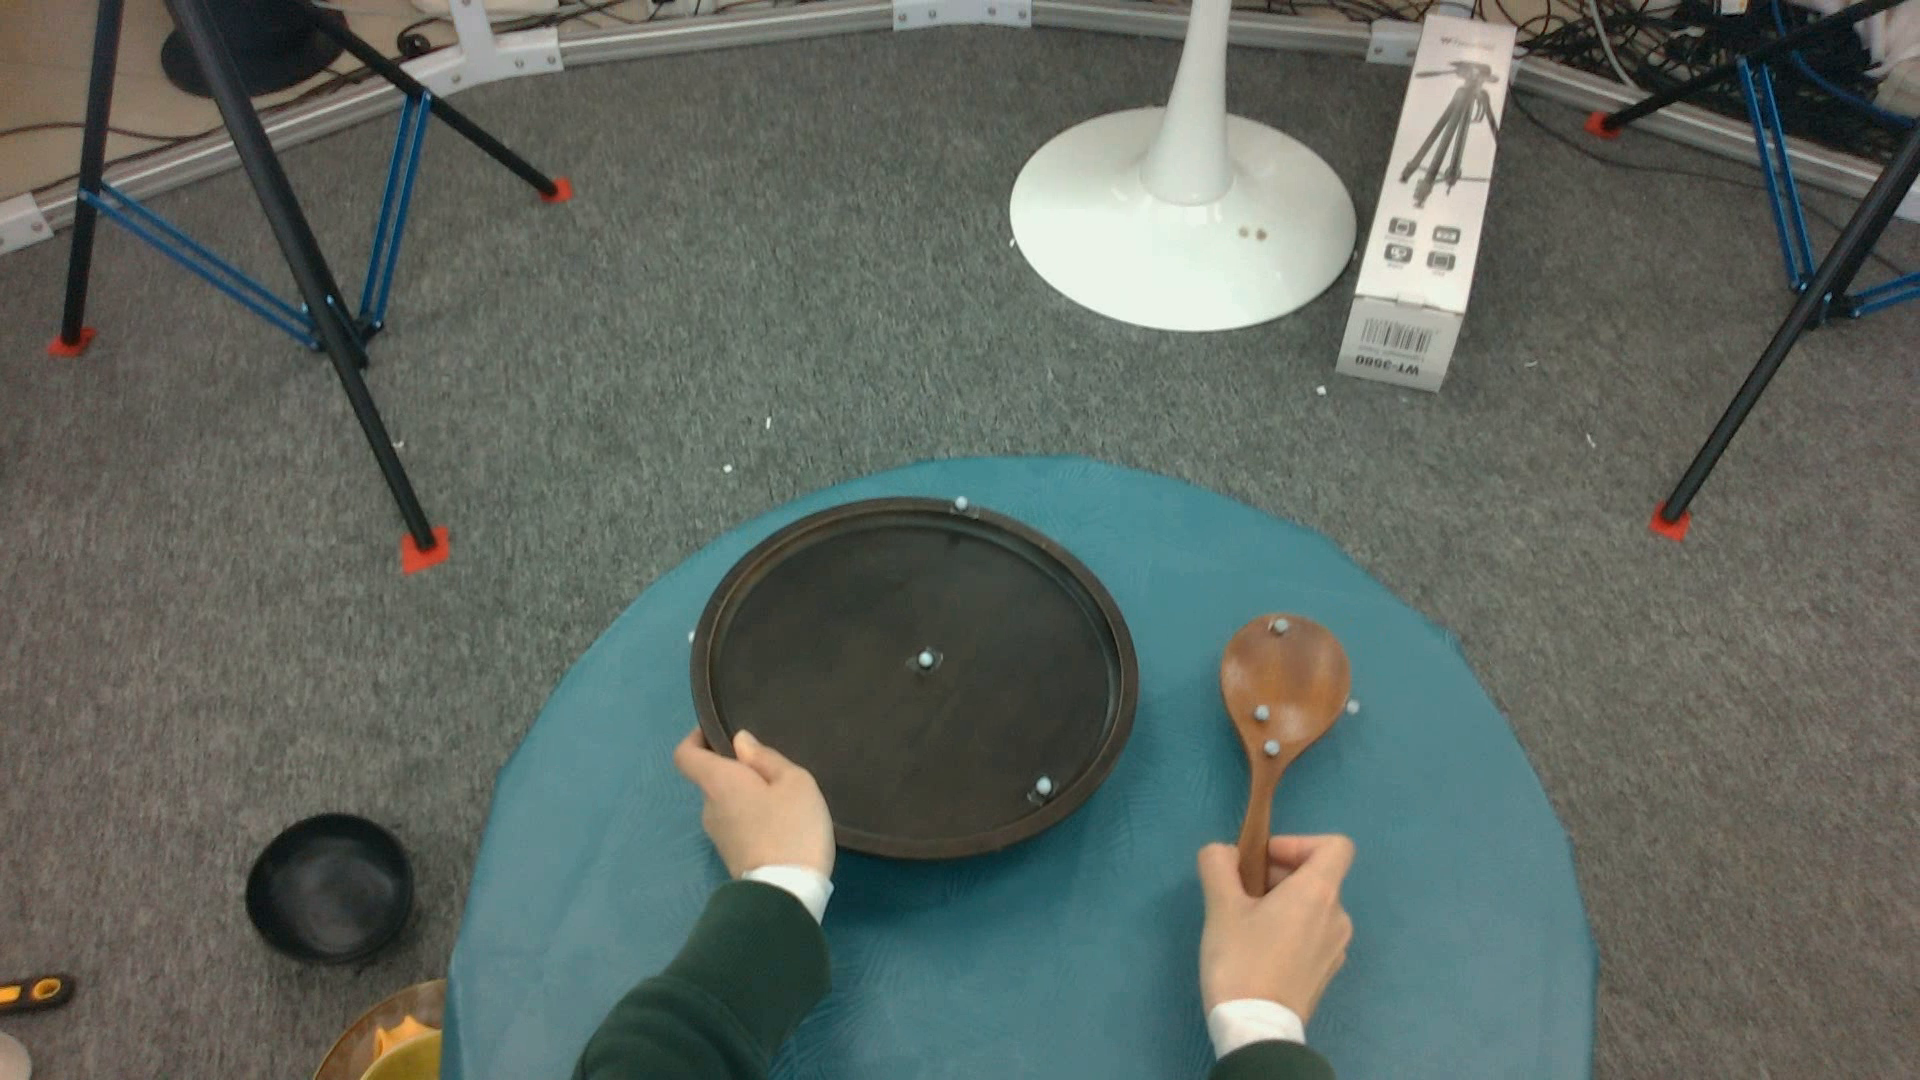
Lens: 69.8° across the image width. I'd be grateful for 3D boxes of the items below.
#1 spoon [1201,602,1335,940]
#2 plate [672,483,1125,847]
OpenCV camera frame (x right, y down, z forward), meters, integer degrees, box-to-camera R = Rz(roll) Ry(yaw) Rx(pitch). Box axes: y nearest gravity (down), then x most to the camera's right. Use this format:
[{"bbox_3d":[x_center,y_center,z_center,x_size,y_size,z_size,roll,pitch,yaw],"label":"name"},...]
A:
[{"bbox_3d":[0.161,0.120,0.756,0.075,0.017,0.217,13,50,10],"label":"spoon"},{"bbox_3d":[-0.033,0.063,0.779,0.255,0.029,0.256,3,46,-3],"label":"plate"}]
